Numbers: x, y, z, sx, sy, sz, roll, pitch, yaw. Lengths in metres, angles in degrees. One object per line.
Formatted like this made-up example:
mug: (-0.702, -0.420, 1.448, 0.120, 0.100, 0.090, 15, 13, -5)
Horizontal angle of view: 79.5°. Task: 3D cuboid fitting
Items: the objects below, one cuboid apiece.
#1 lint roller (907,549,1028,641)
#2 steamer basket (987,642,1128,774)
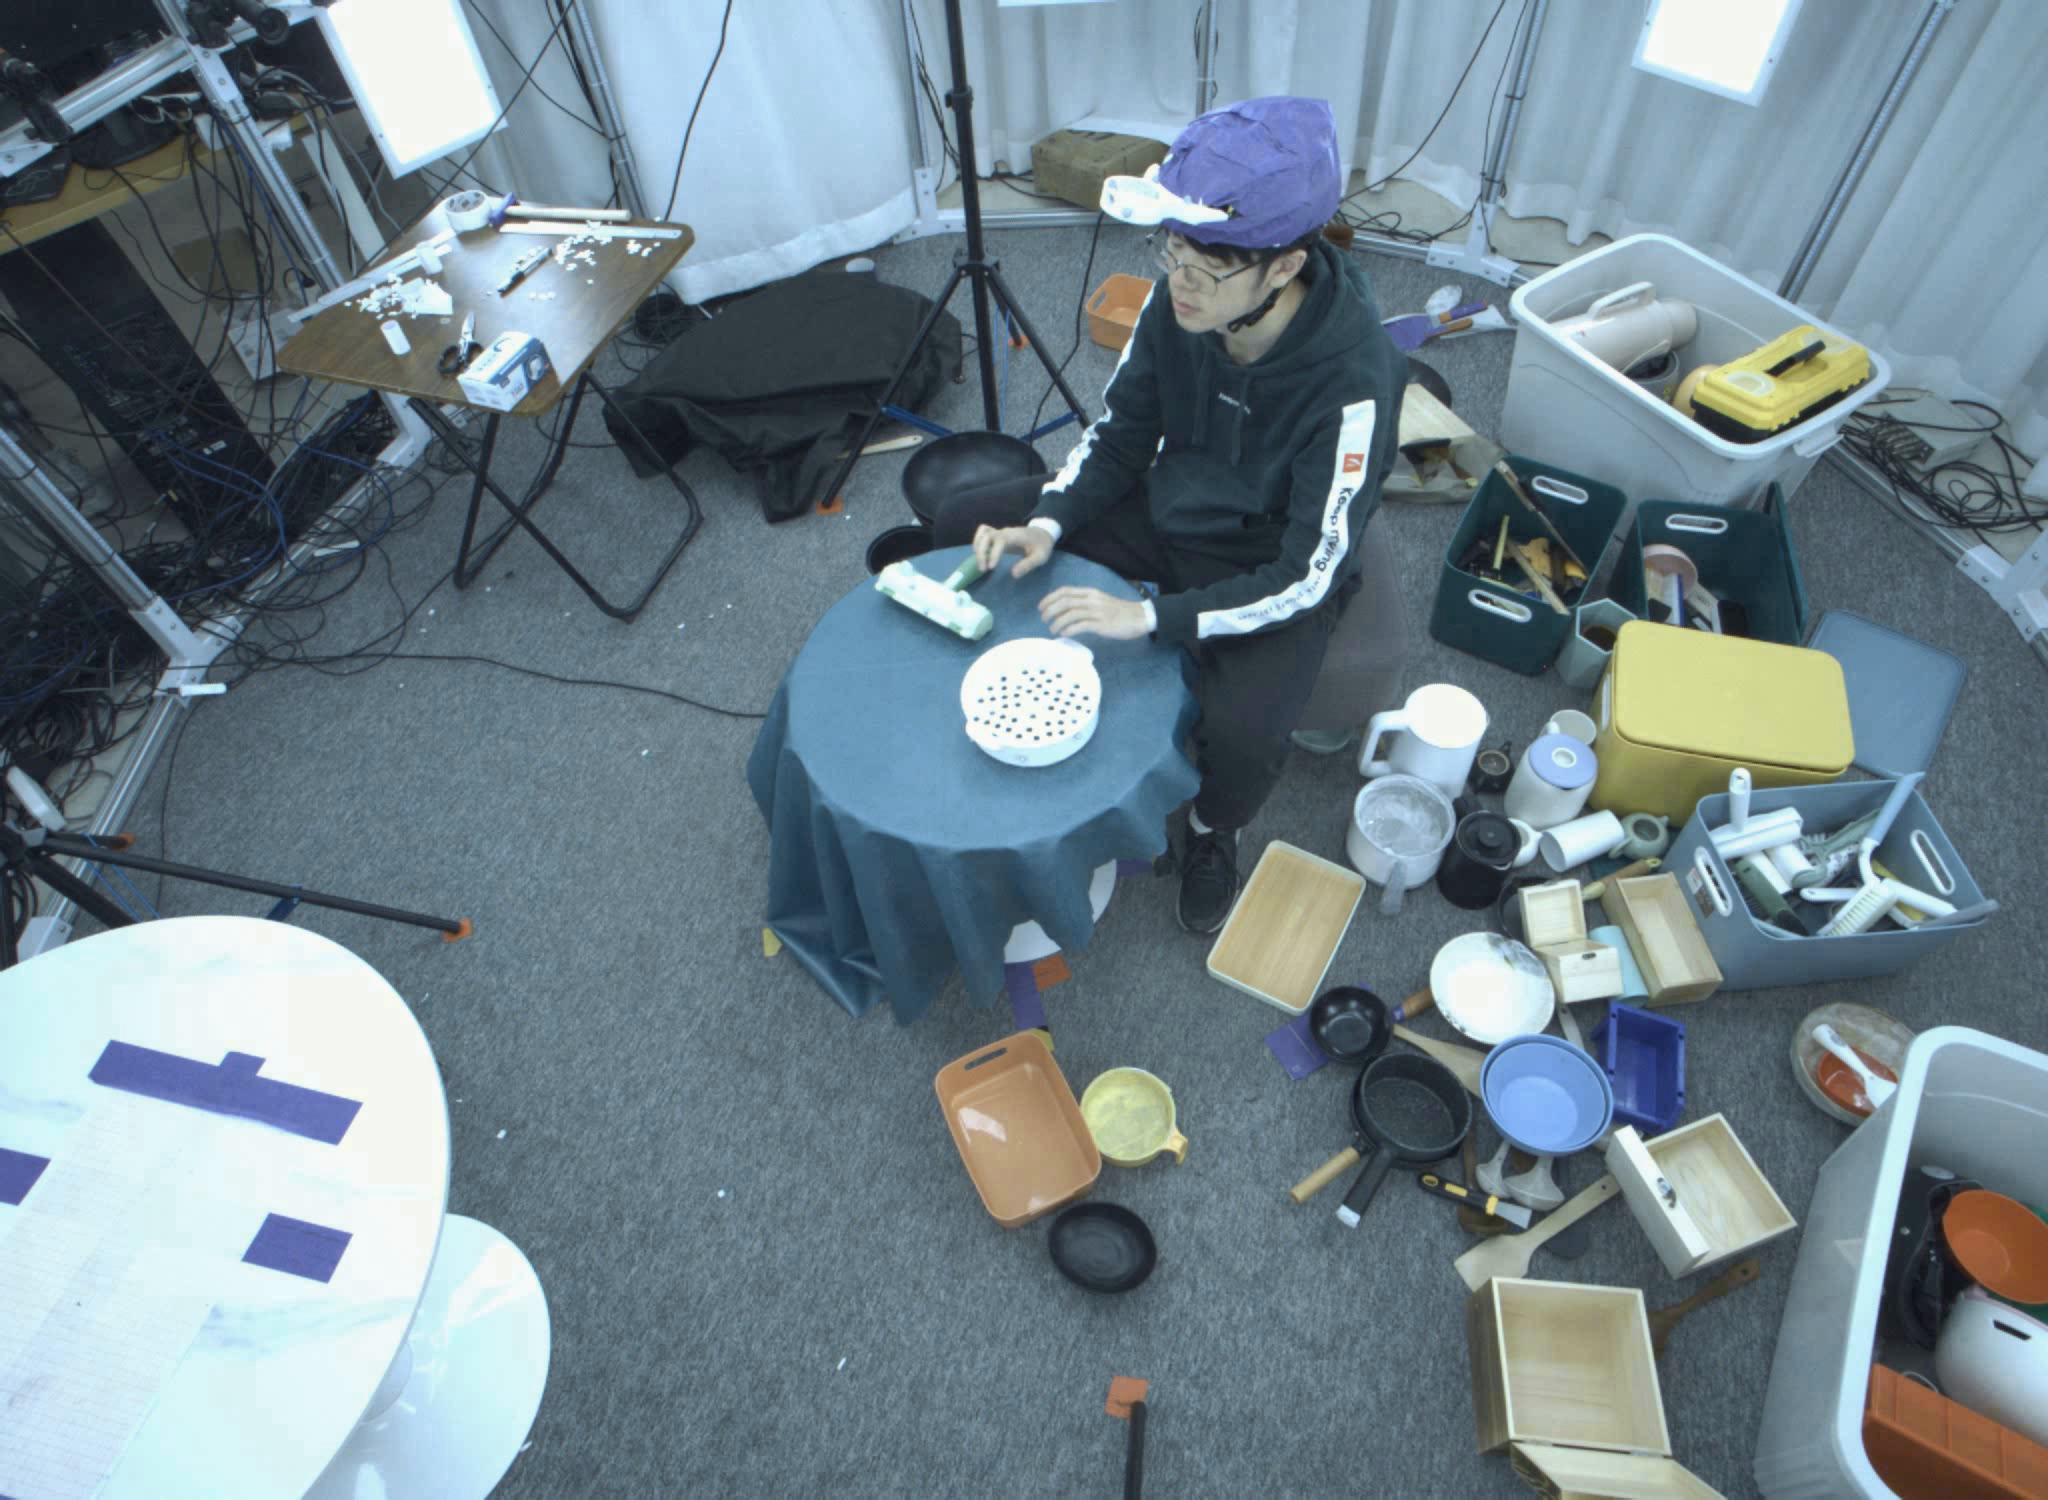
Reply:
lint roller: (-0.058, -0.275, 1.932, 0.195, 0.083, 0.184, 32, 66, 22)
steamer basket: (0.050, -0.058, 1.780, 0.198, 0.070, 0.232, 34, 64, 24)
